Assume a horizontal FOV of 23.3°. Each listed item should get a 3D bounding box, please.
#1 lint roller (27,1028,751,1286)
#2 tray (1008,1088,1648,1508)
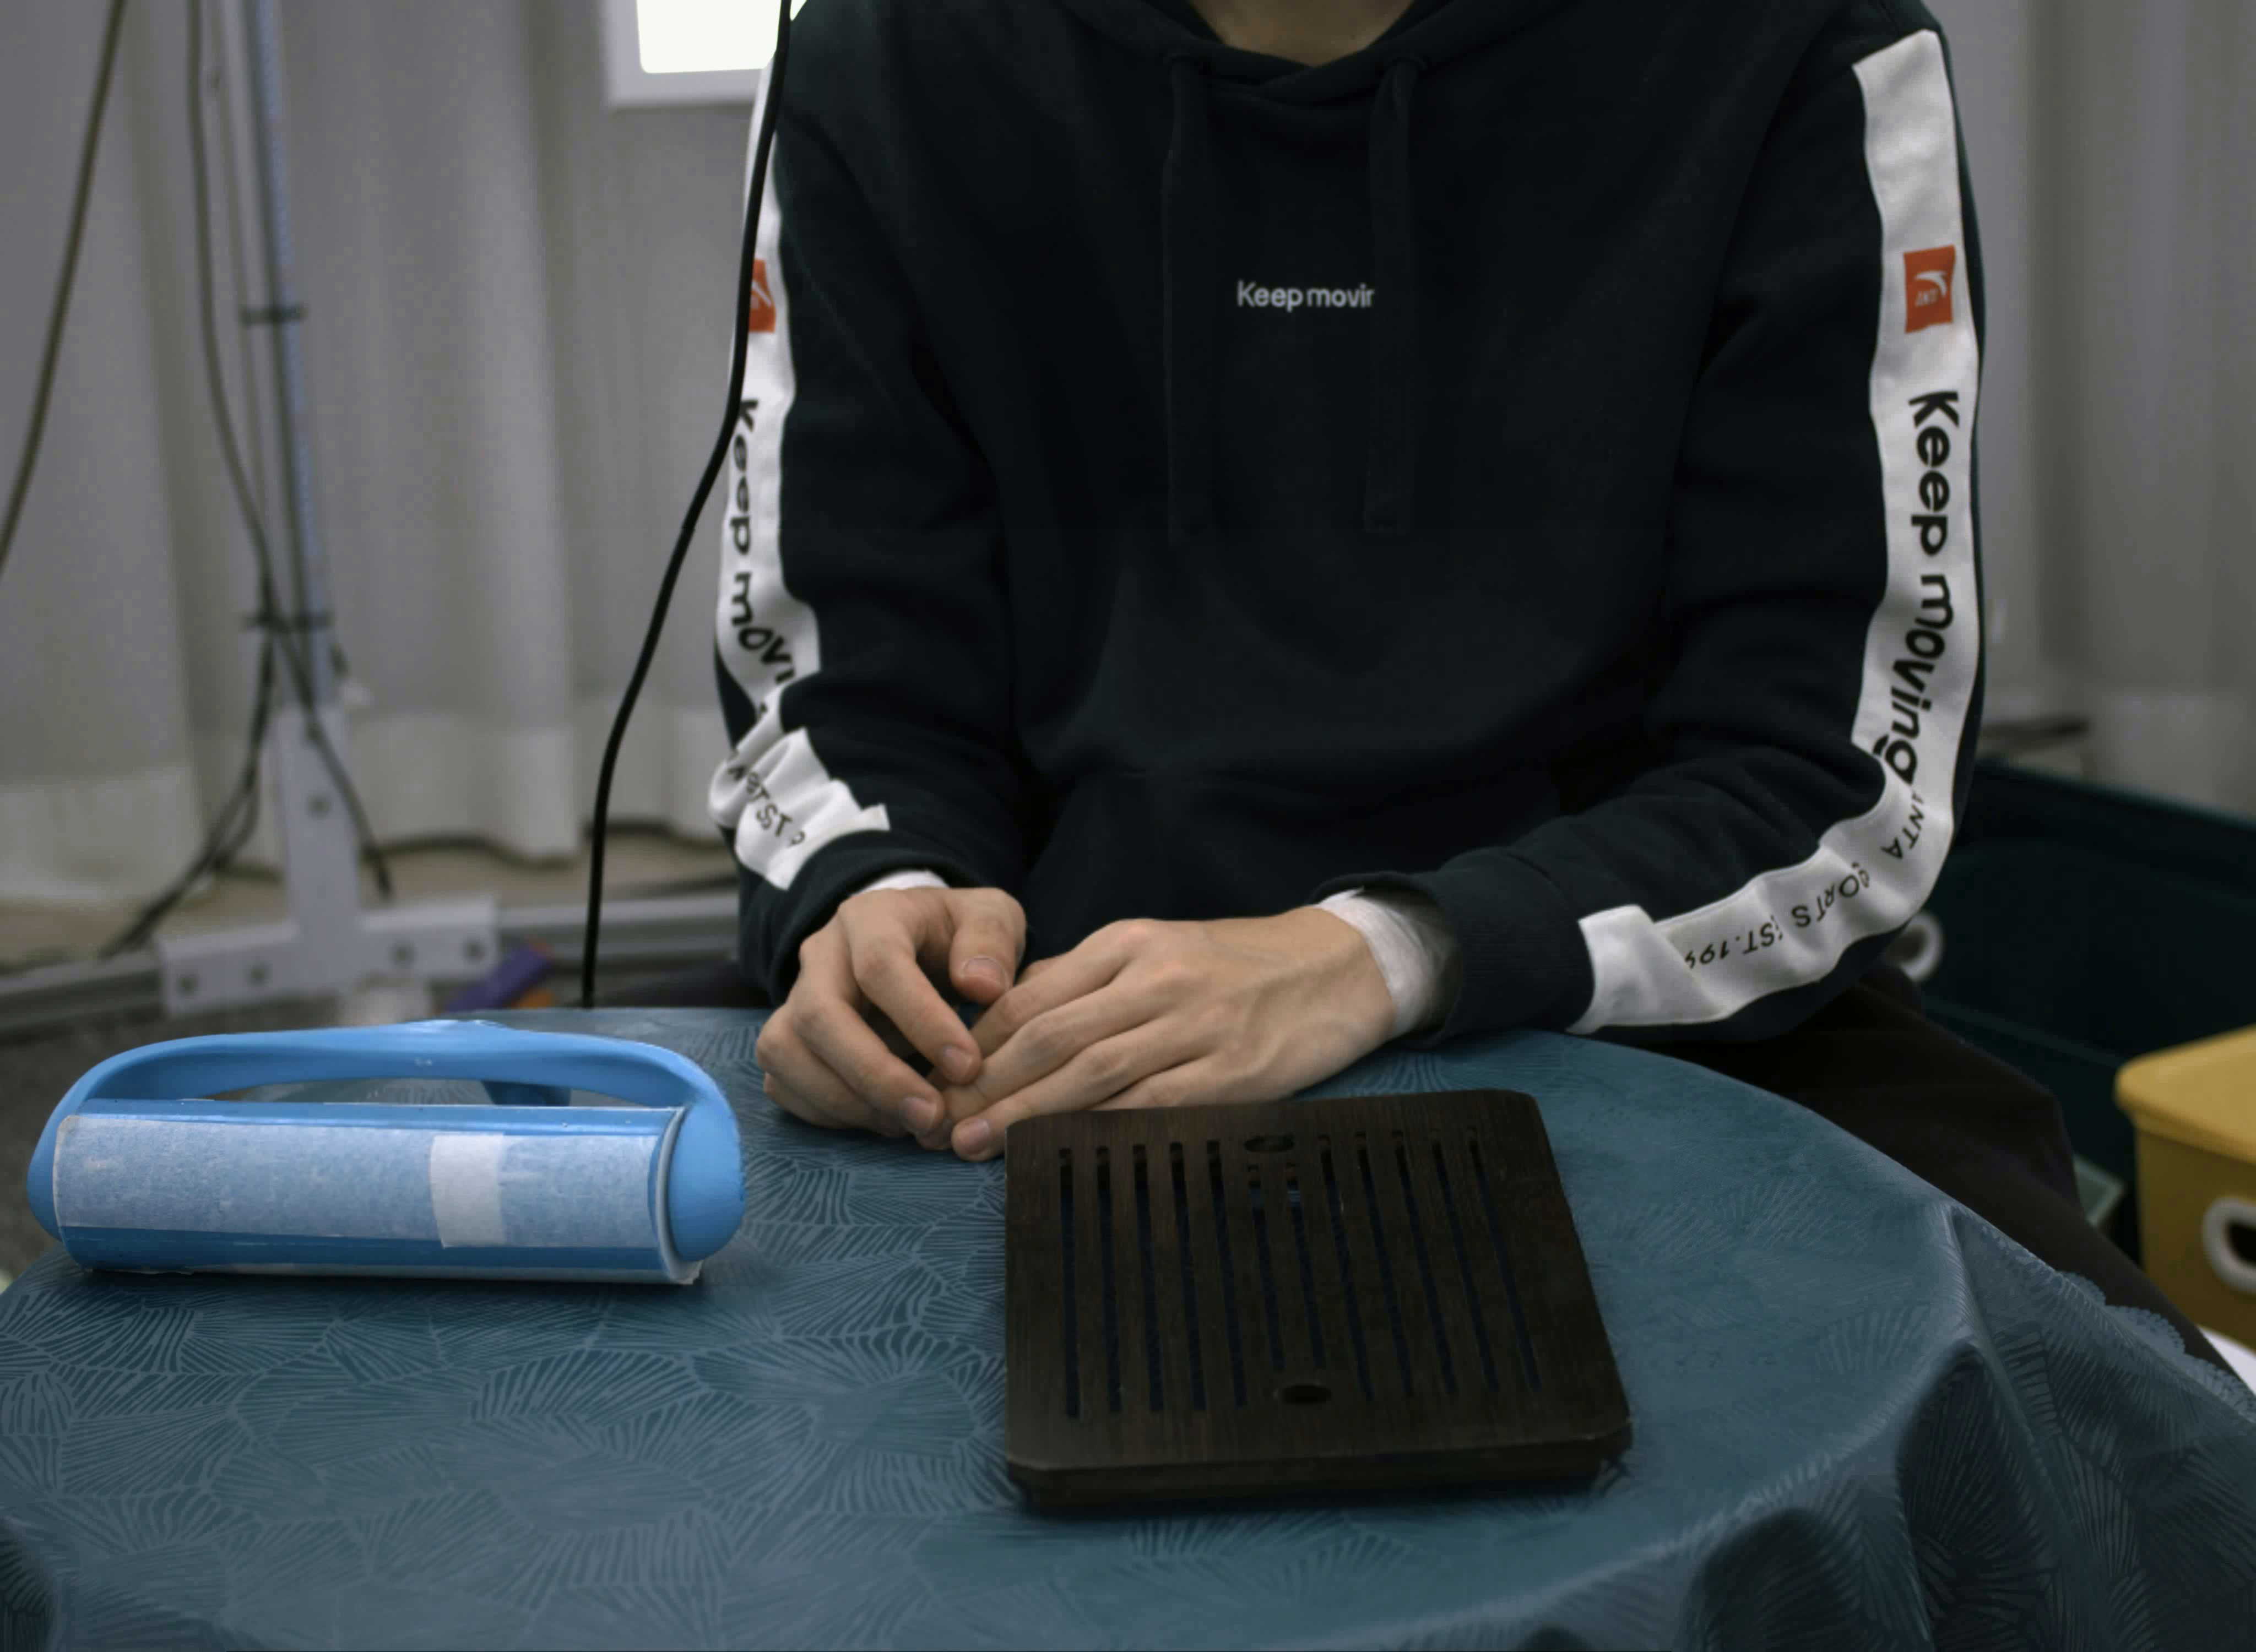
[{"bbox_3d":[-0.217,0.094,1.724,0.228,0.067,0.181,-2,16,10],"label":"lint roller"},{"bbox_3d":[0.051,0.135,1.595,0.169,0.018,0.308,-4,15,-1],"label":"tray"}]
